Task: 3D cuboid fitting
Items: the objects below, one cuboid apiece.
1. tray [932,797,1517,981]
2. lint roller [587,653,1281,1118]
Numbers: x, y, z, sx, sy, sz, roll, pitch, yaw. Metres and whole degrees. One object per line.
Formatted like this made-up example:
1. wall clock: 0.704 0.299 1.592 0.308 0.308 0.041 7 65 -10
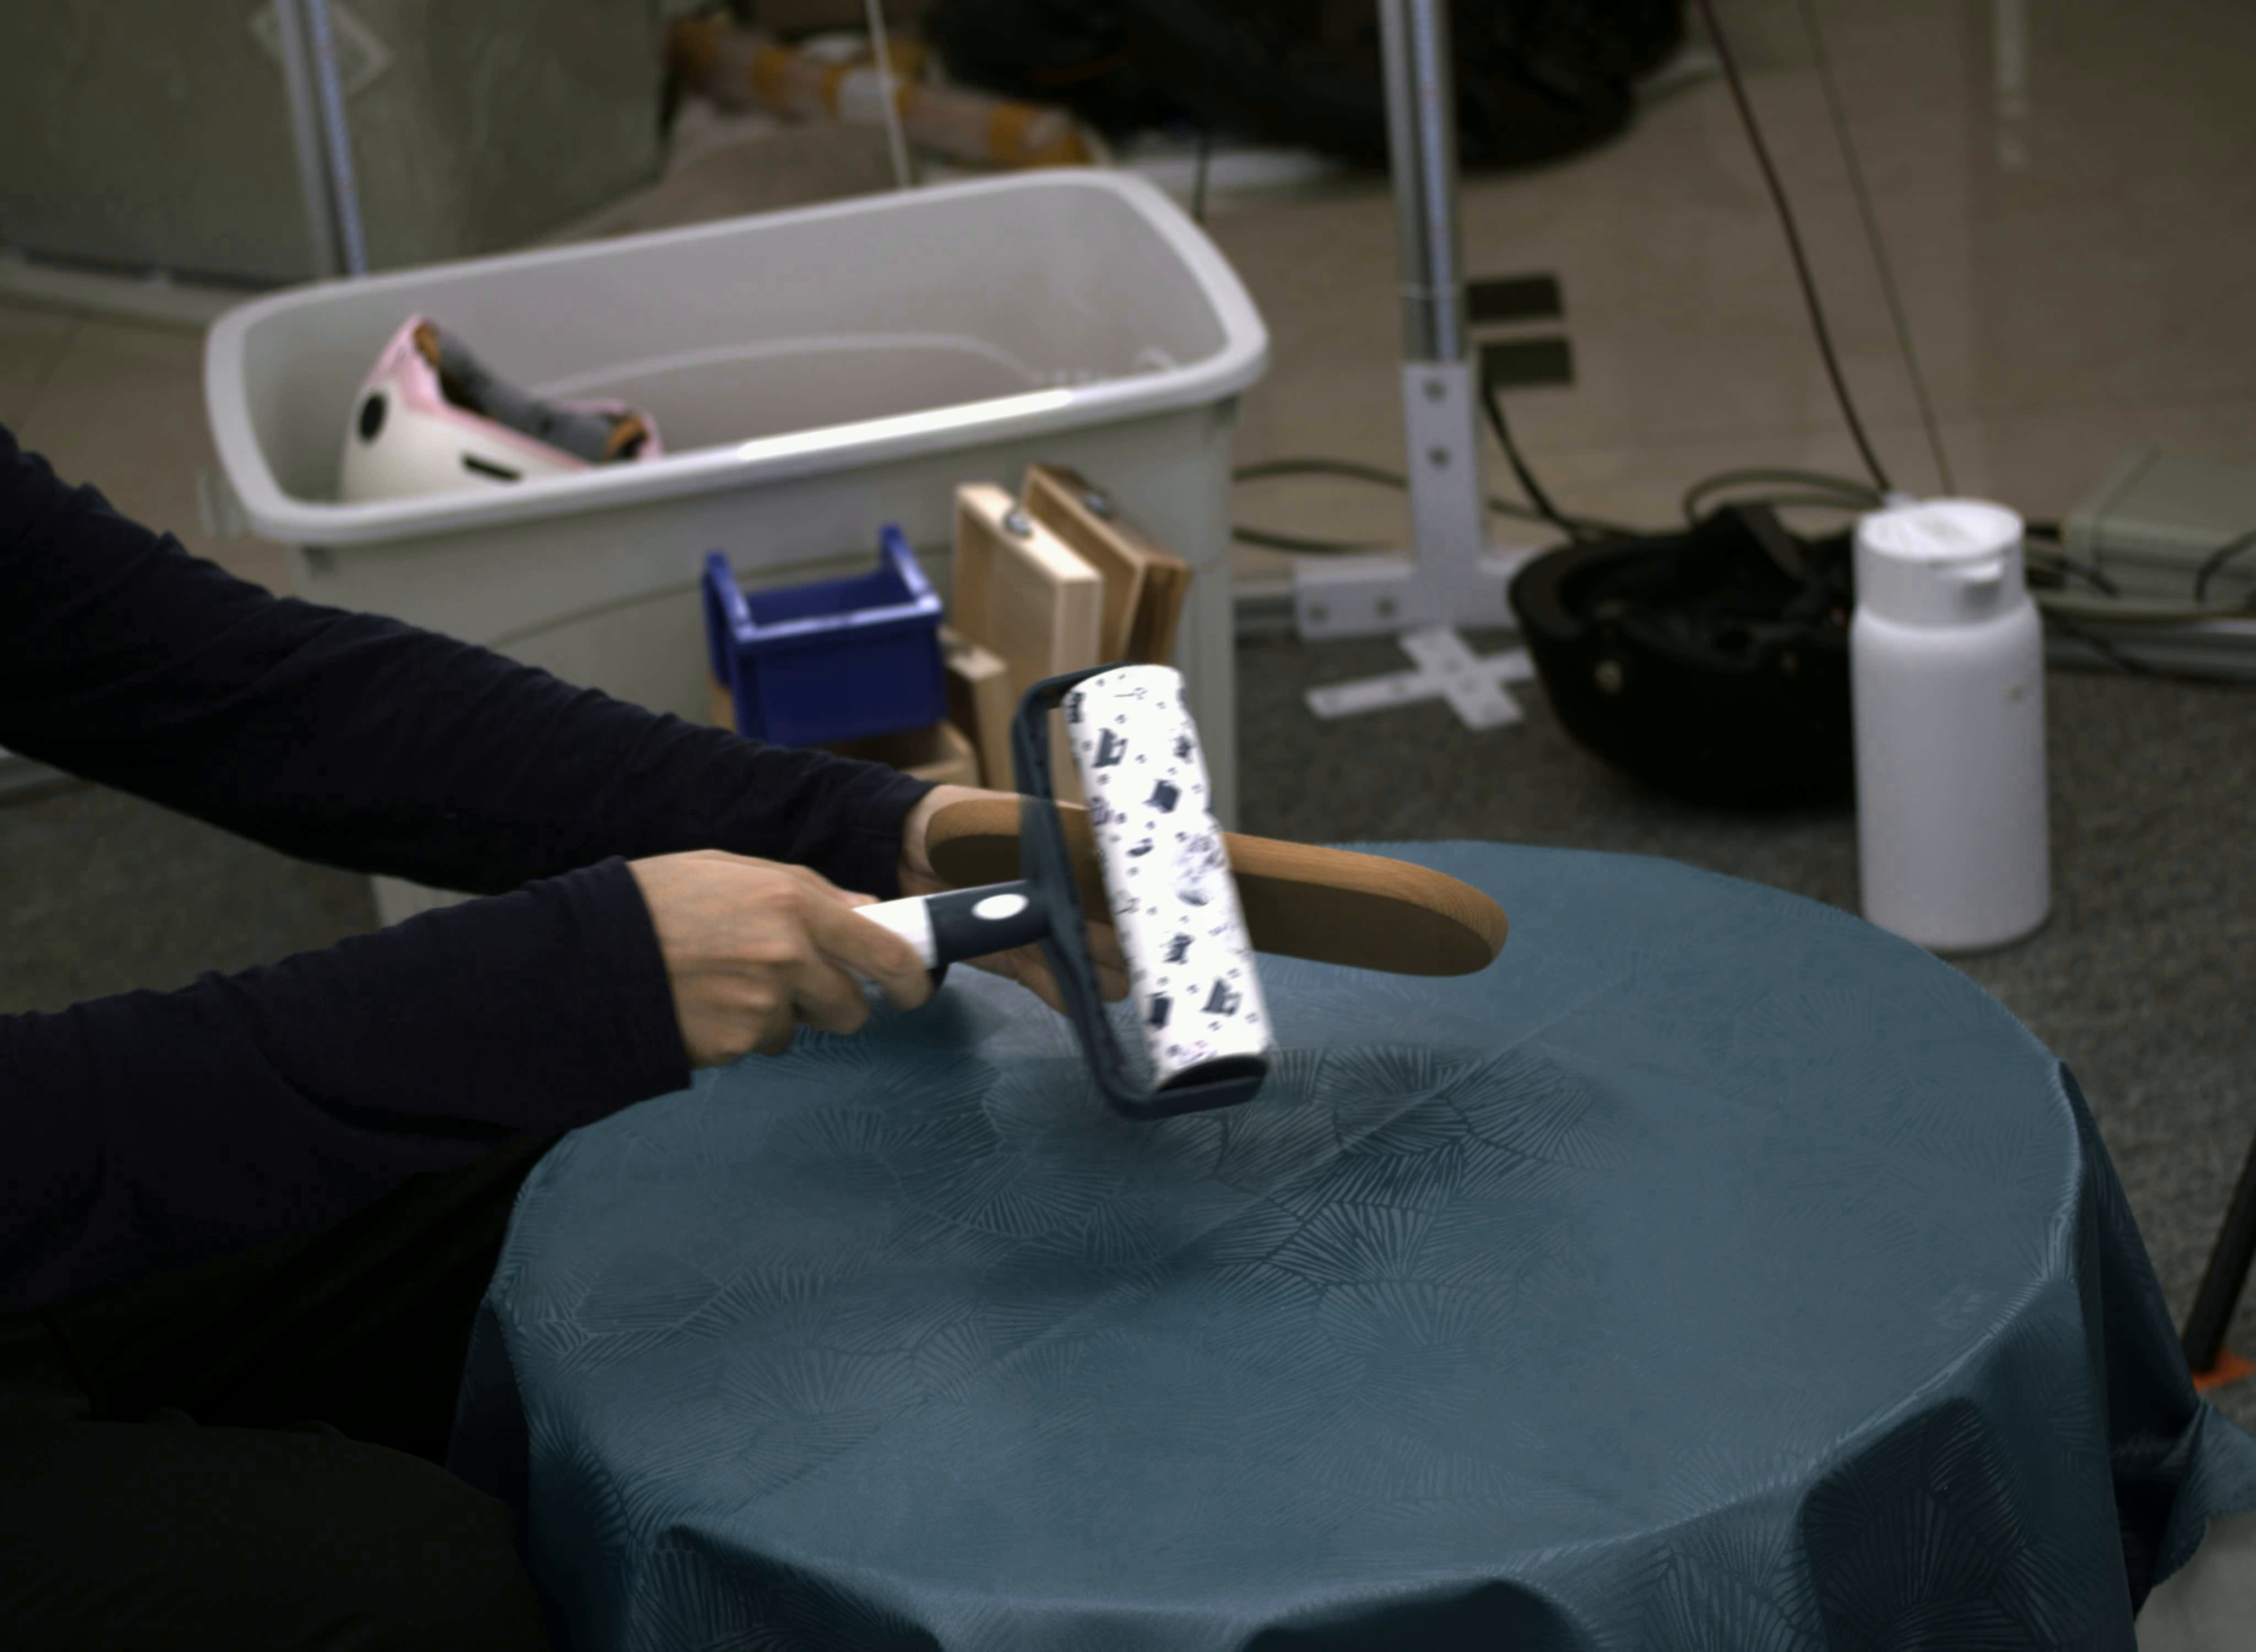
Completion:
1. tray: 0.036 0.026 2.191 0.230 0.103 0.020 11 73 10
2. lint roller: -0.080 0.042 2.104 0.246 0.051 0.174 -13 71 -6
